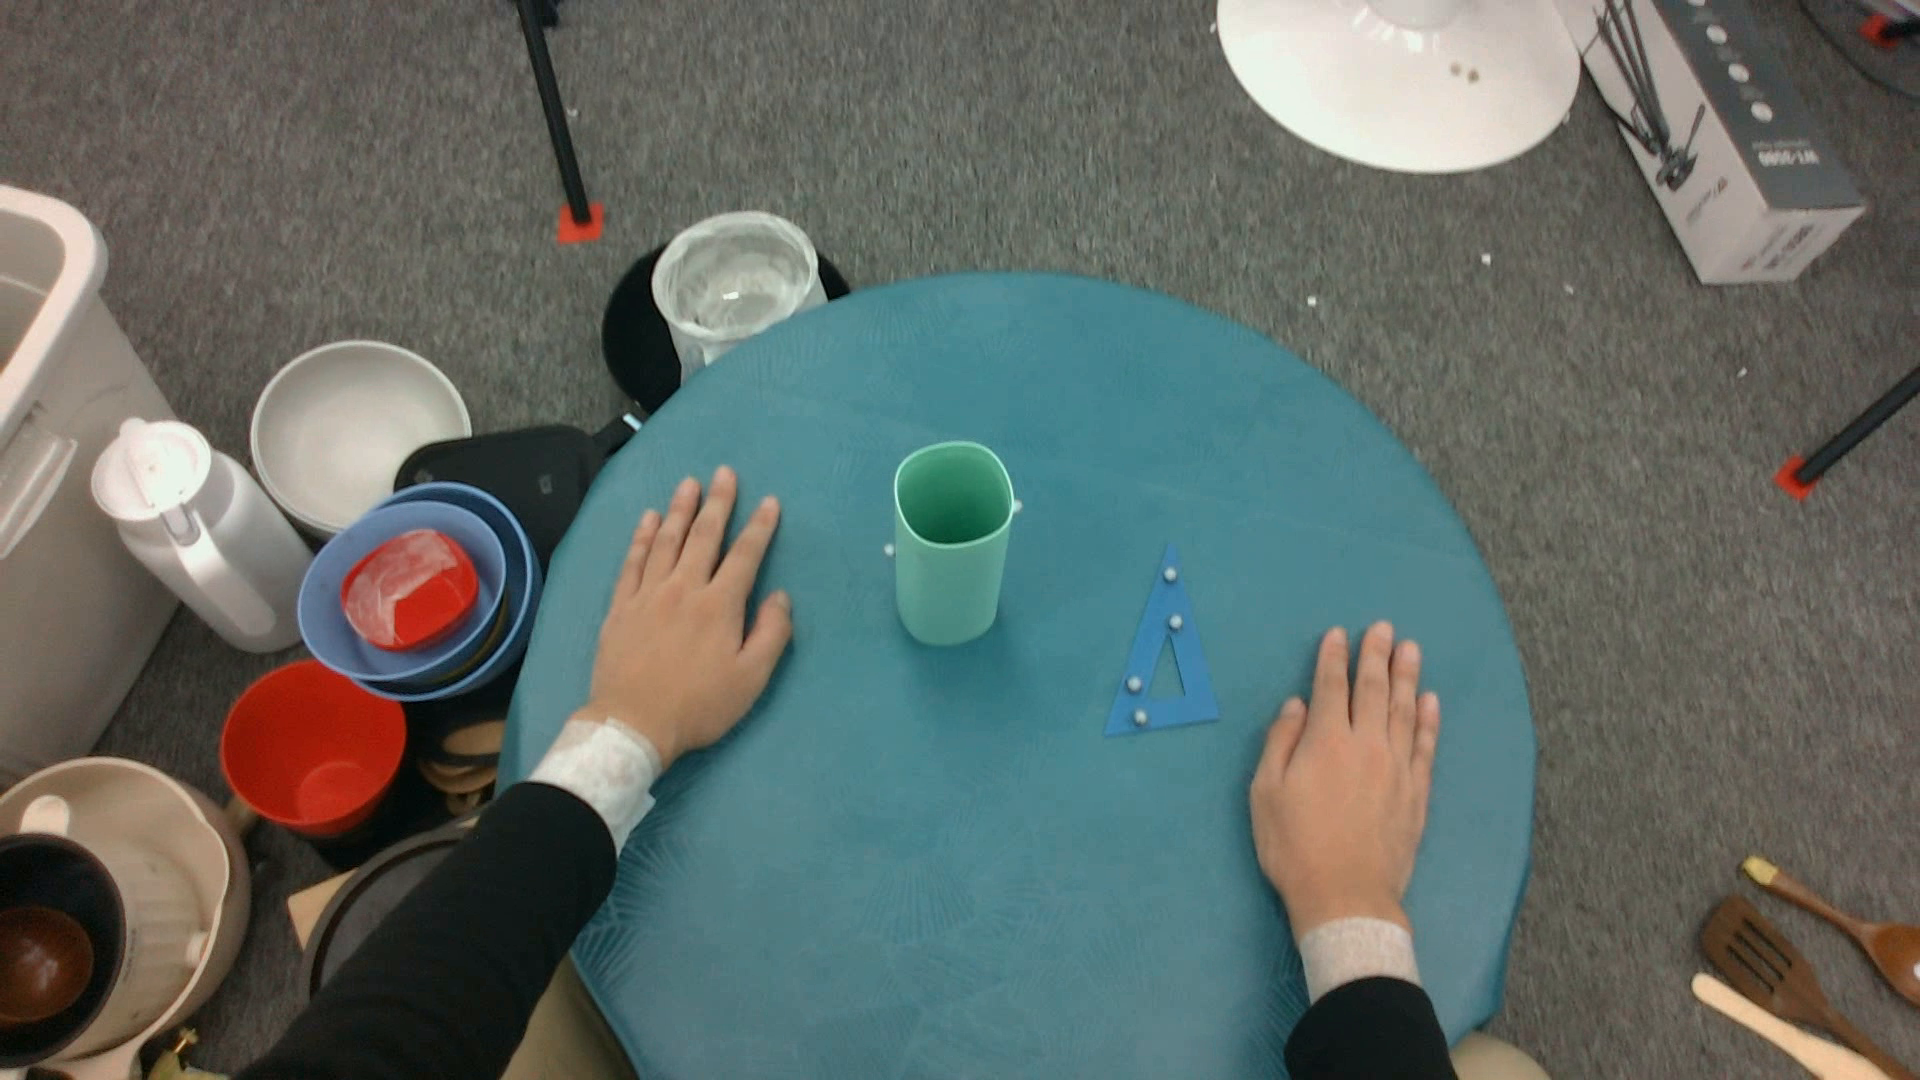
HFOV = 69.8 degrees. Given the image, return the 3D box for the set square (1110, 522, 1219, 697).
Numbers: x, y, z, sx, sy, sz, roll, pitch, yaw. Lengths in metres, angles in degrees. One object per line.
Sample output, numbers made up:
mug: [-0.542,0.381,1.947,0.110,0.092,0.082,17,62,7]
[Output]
set square: [0.140,0.049,0.835,0.061,0.006,0.132,22,63,10]

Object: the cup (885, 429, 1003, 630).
cup: [-0.011,-0.002,0.786,0.067,0.132,0.067,2,62,-3]
